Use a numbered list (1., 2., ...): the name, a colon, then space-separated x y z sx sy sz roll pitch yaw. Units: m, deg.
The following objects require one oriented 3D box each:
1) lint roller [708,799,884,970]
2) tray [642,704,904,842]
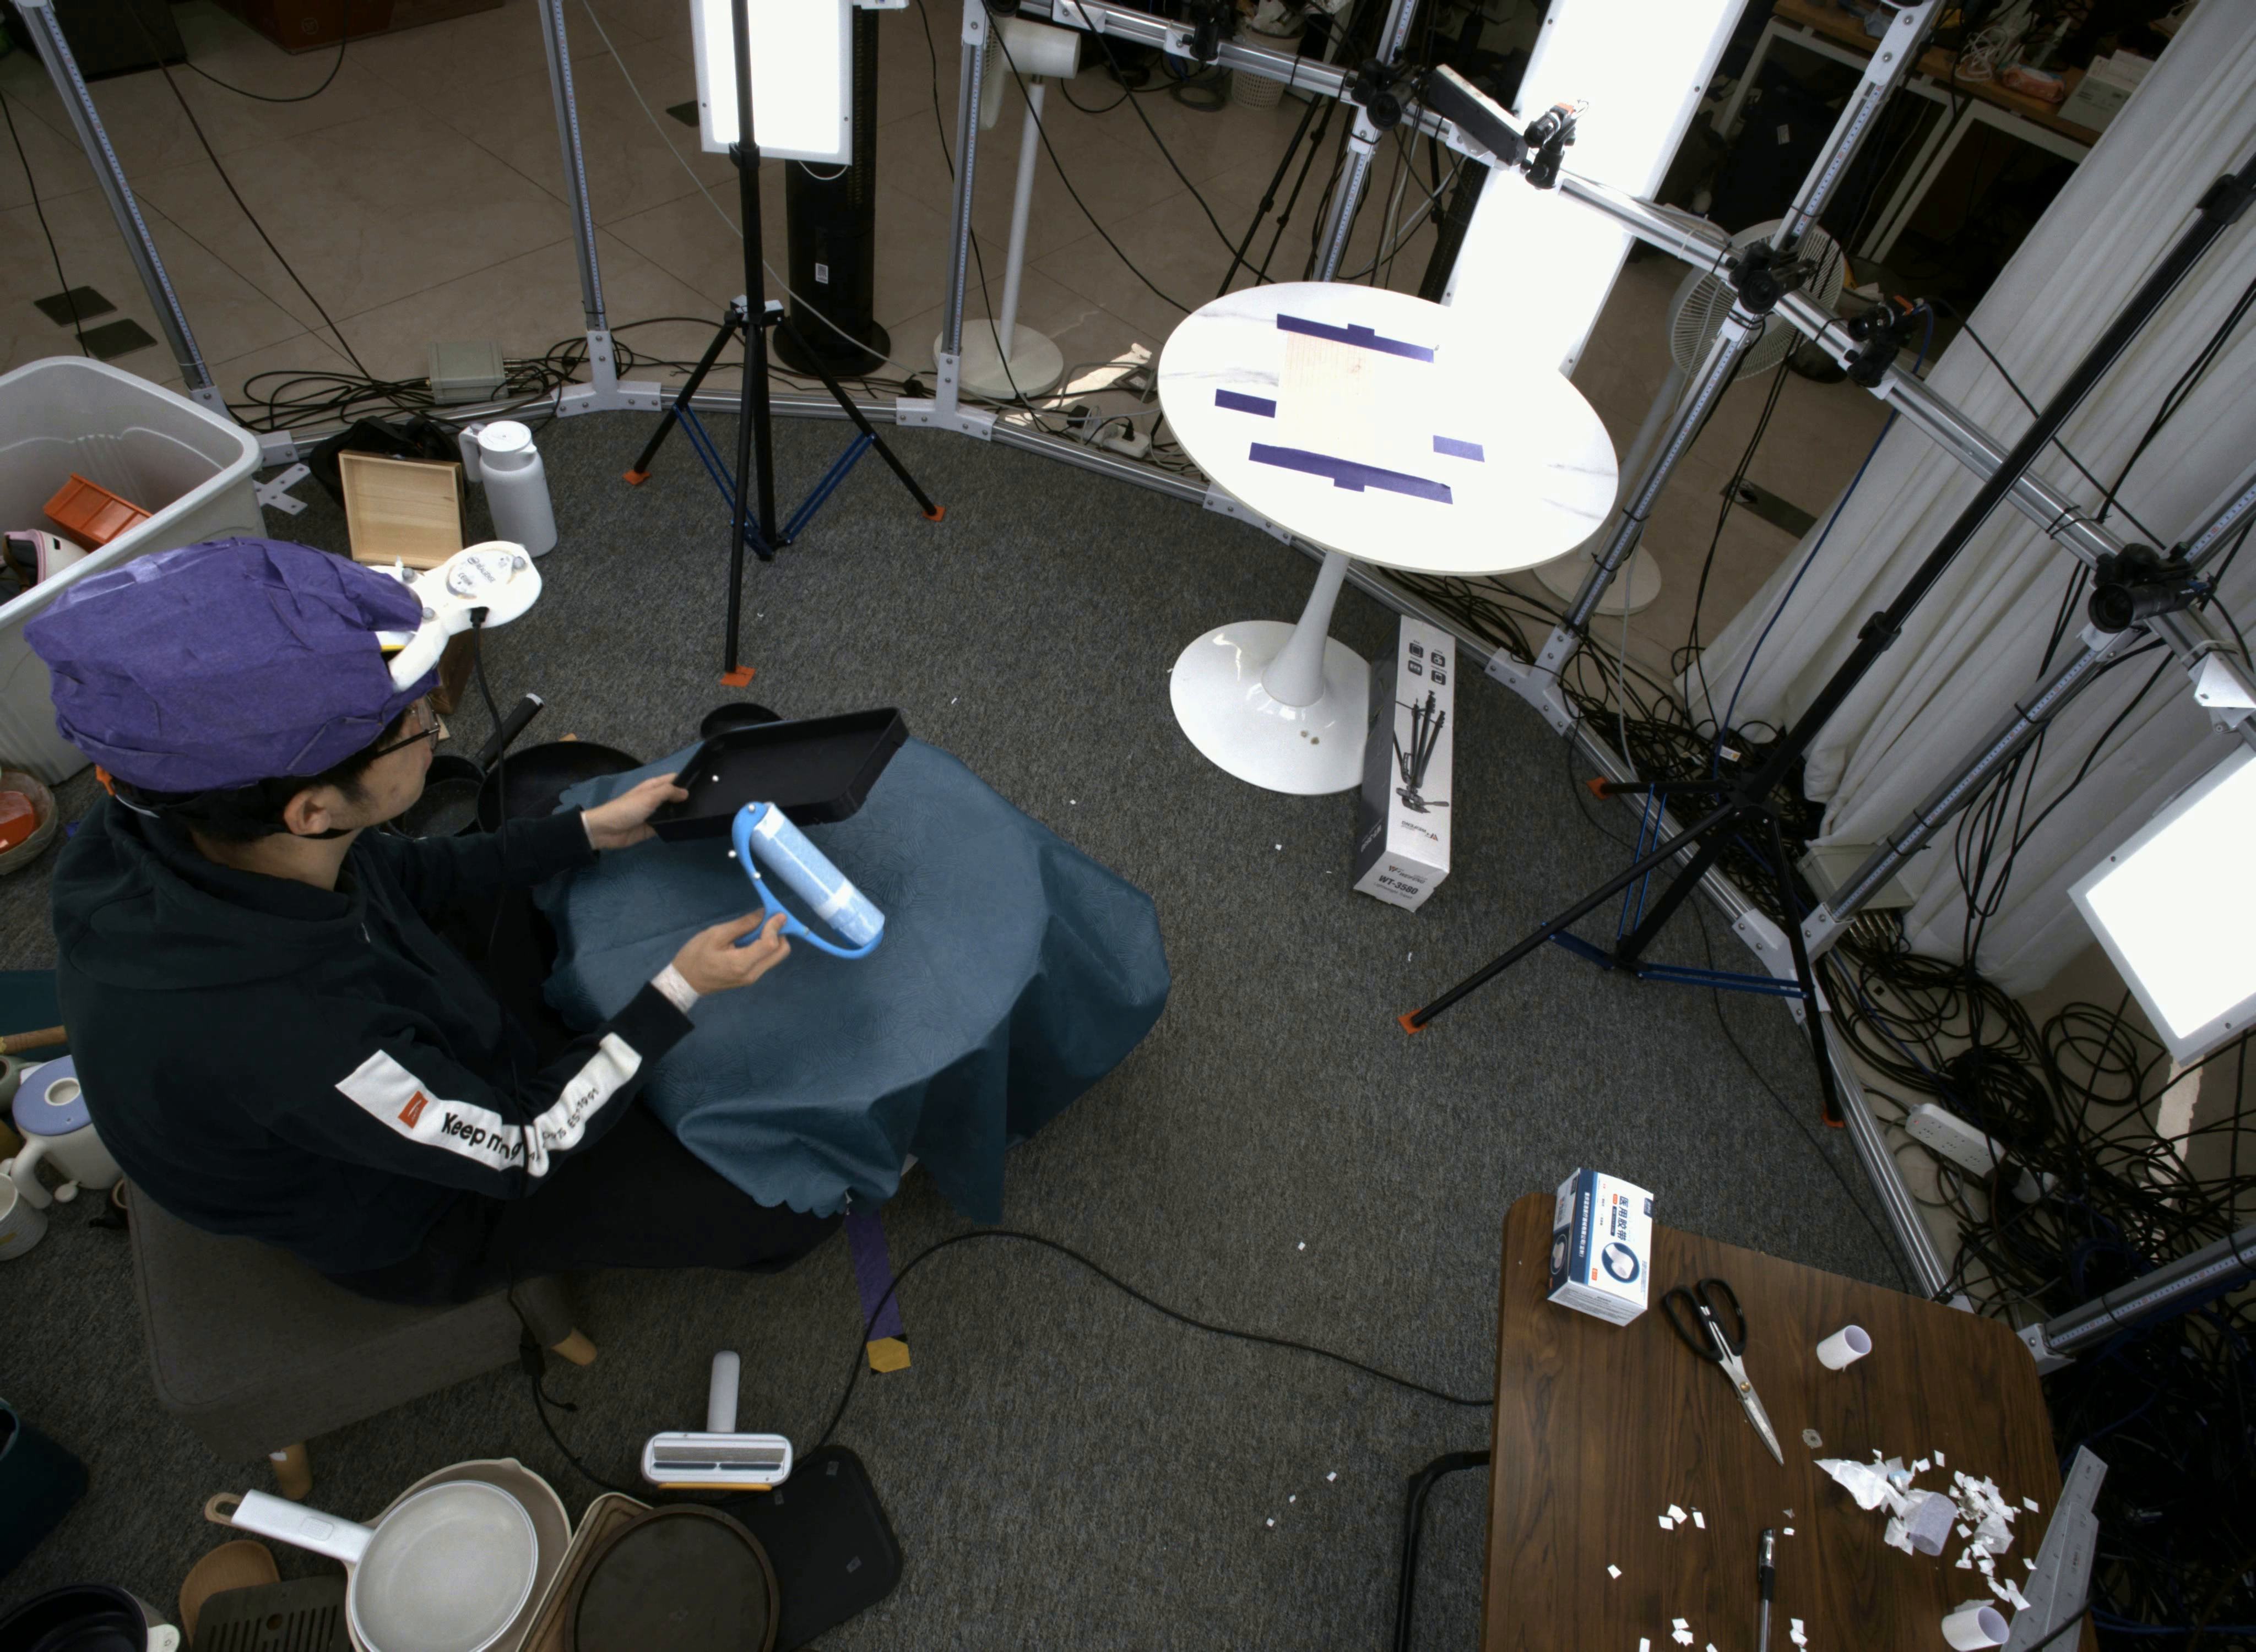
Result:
1. lint roller: -0.400 0.099 1.465 0.180 0.237 0.065 -48 31 -9
2. tray: -0.440 -0.065 1.601 0.309 0.038 0.182 -5 40 23
